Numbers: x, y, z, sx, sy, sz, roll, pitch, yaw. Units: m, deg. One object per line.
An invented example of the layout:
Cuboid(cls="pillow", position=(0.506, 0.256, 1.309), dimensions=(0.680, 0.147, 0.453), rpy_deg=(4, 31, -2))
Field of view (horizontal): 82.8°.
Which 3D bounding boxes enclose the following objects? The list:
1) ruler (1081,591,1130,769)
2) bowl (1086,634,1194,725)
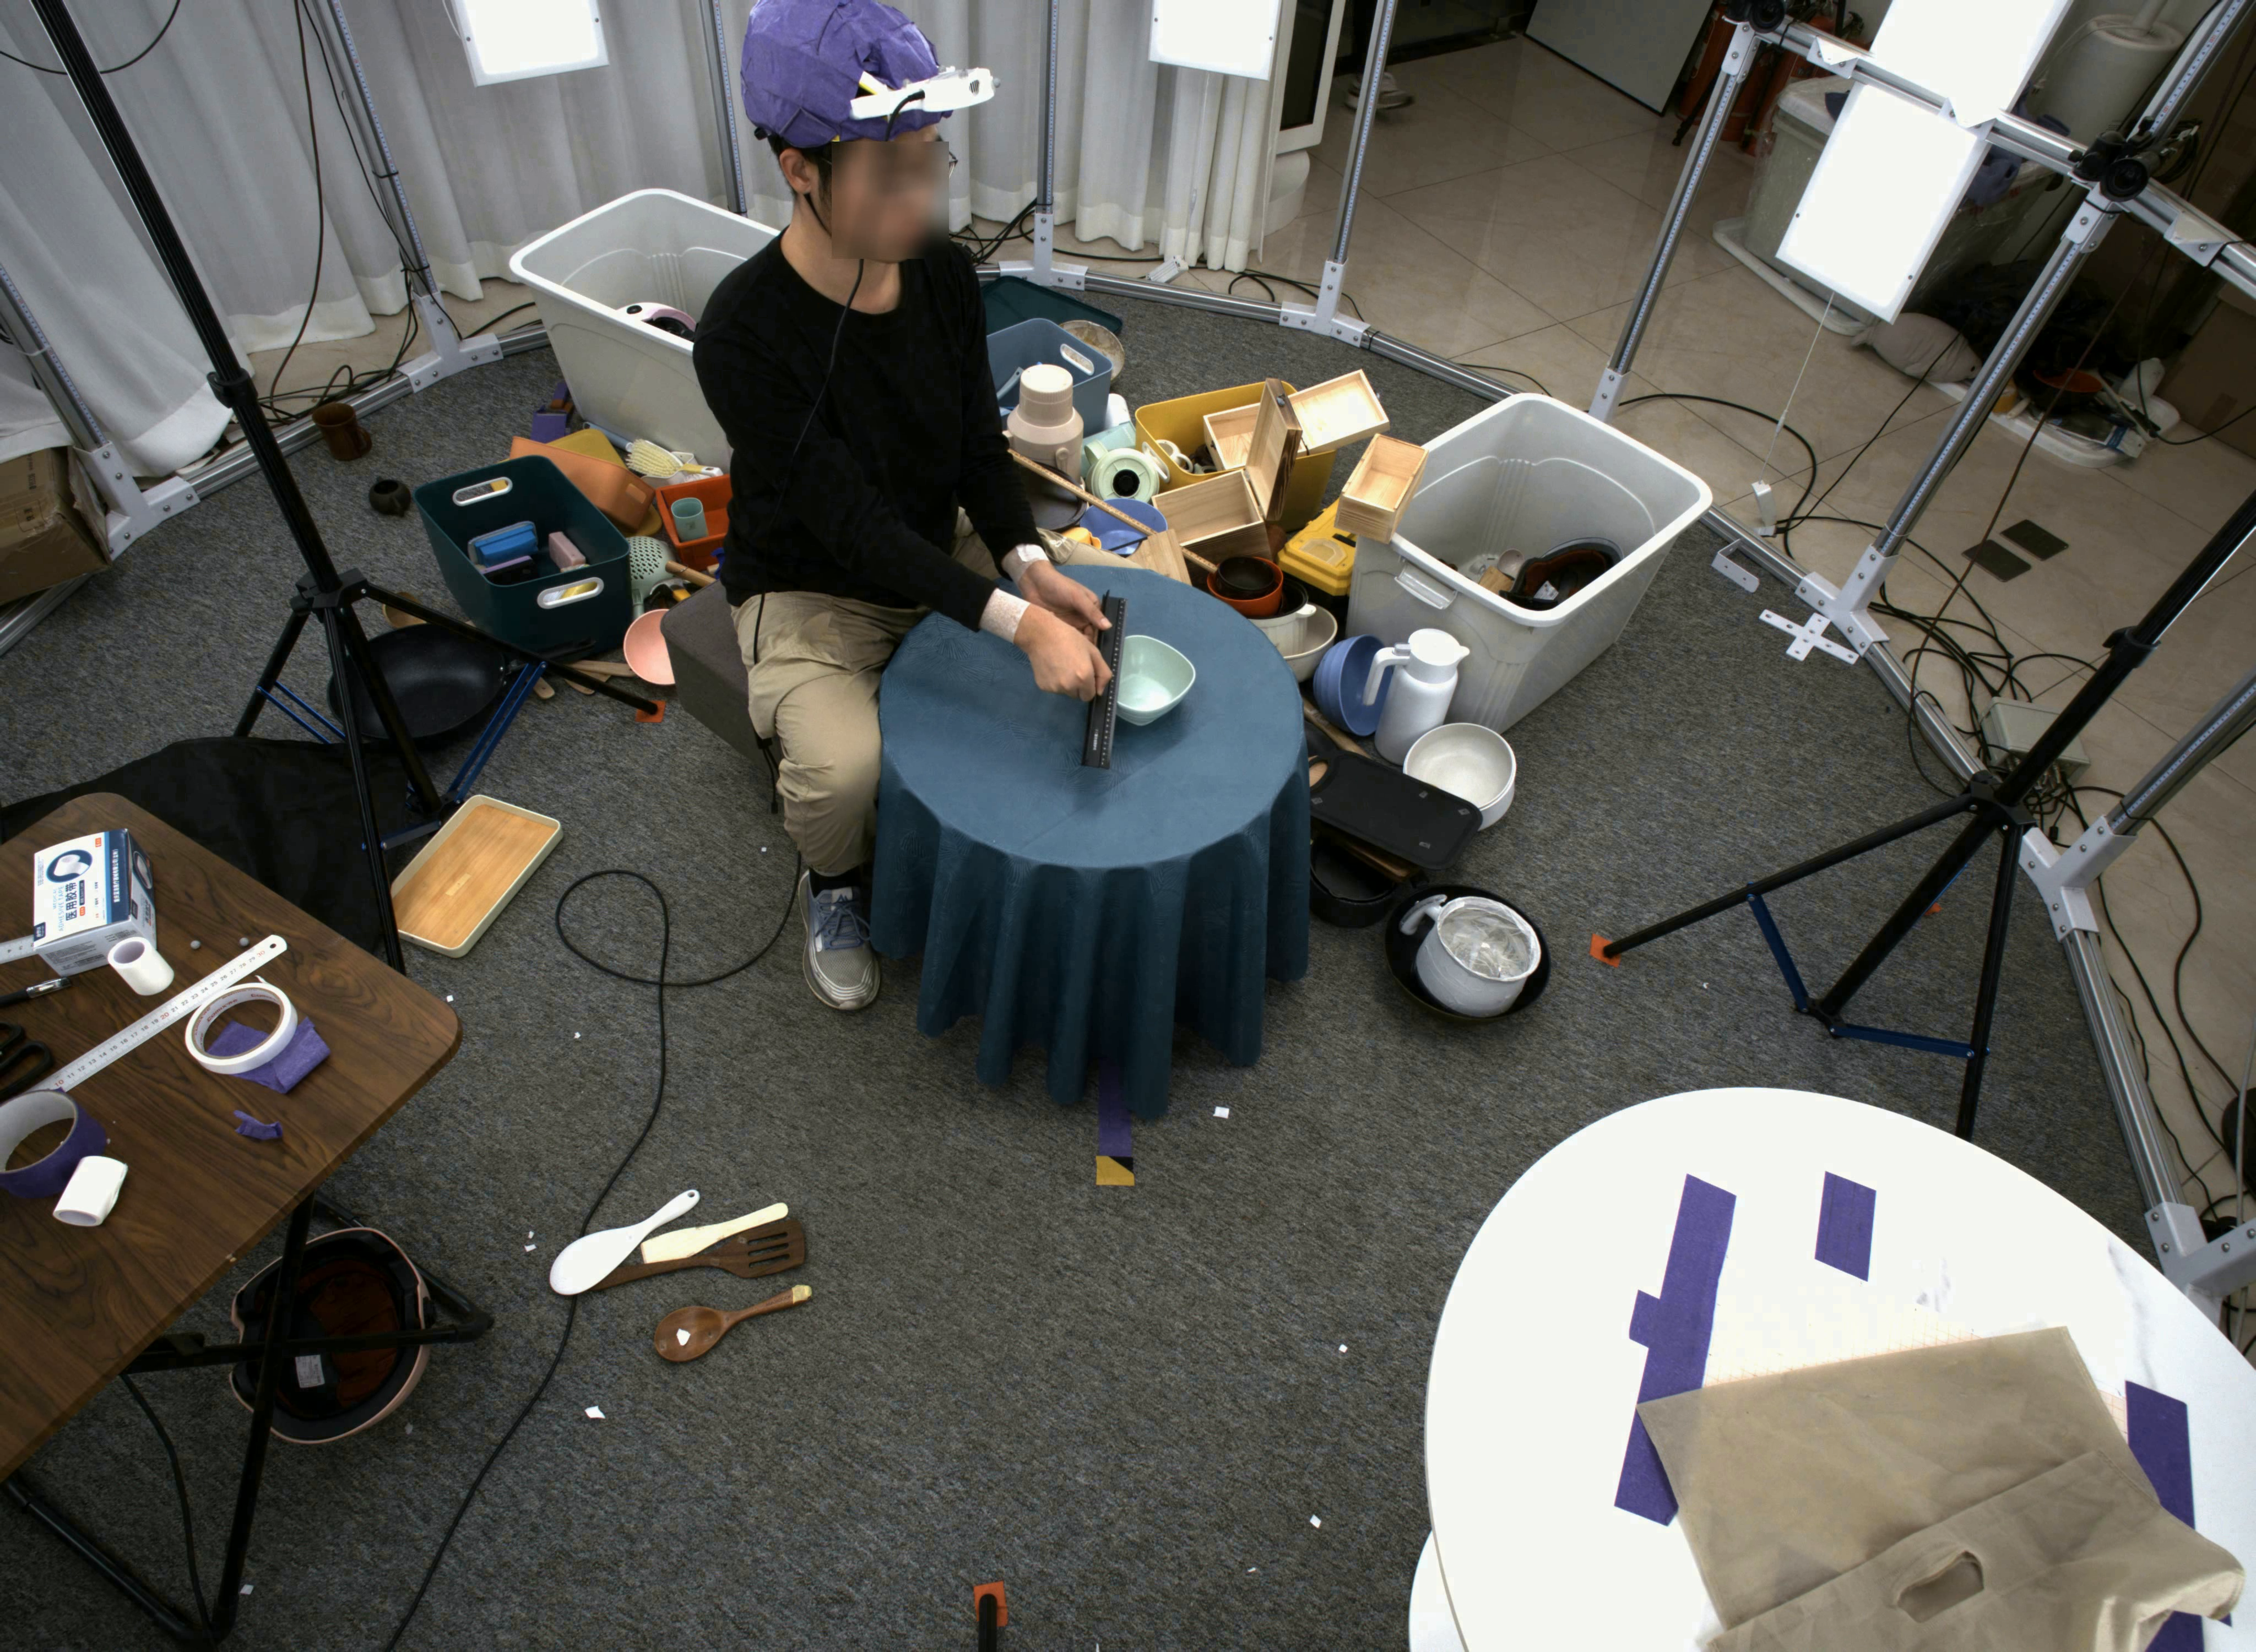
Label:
Cuboid(cls="ruler", position=(-0.028, -0.206, 1.759), dimensions=(0.039, 0.017, 0.320), rpy_deg=(10, 53, -5))
Cuboid(cls="bowl", position=(0.016, -0.197, 1.807), dimensions=(0.151, 0.057, 0.155), rpy_deg=(2, 51, -3))
